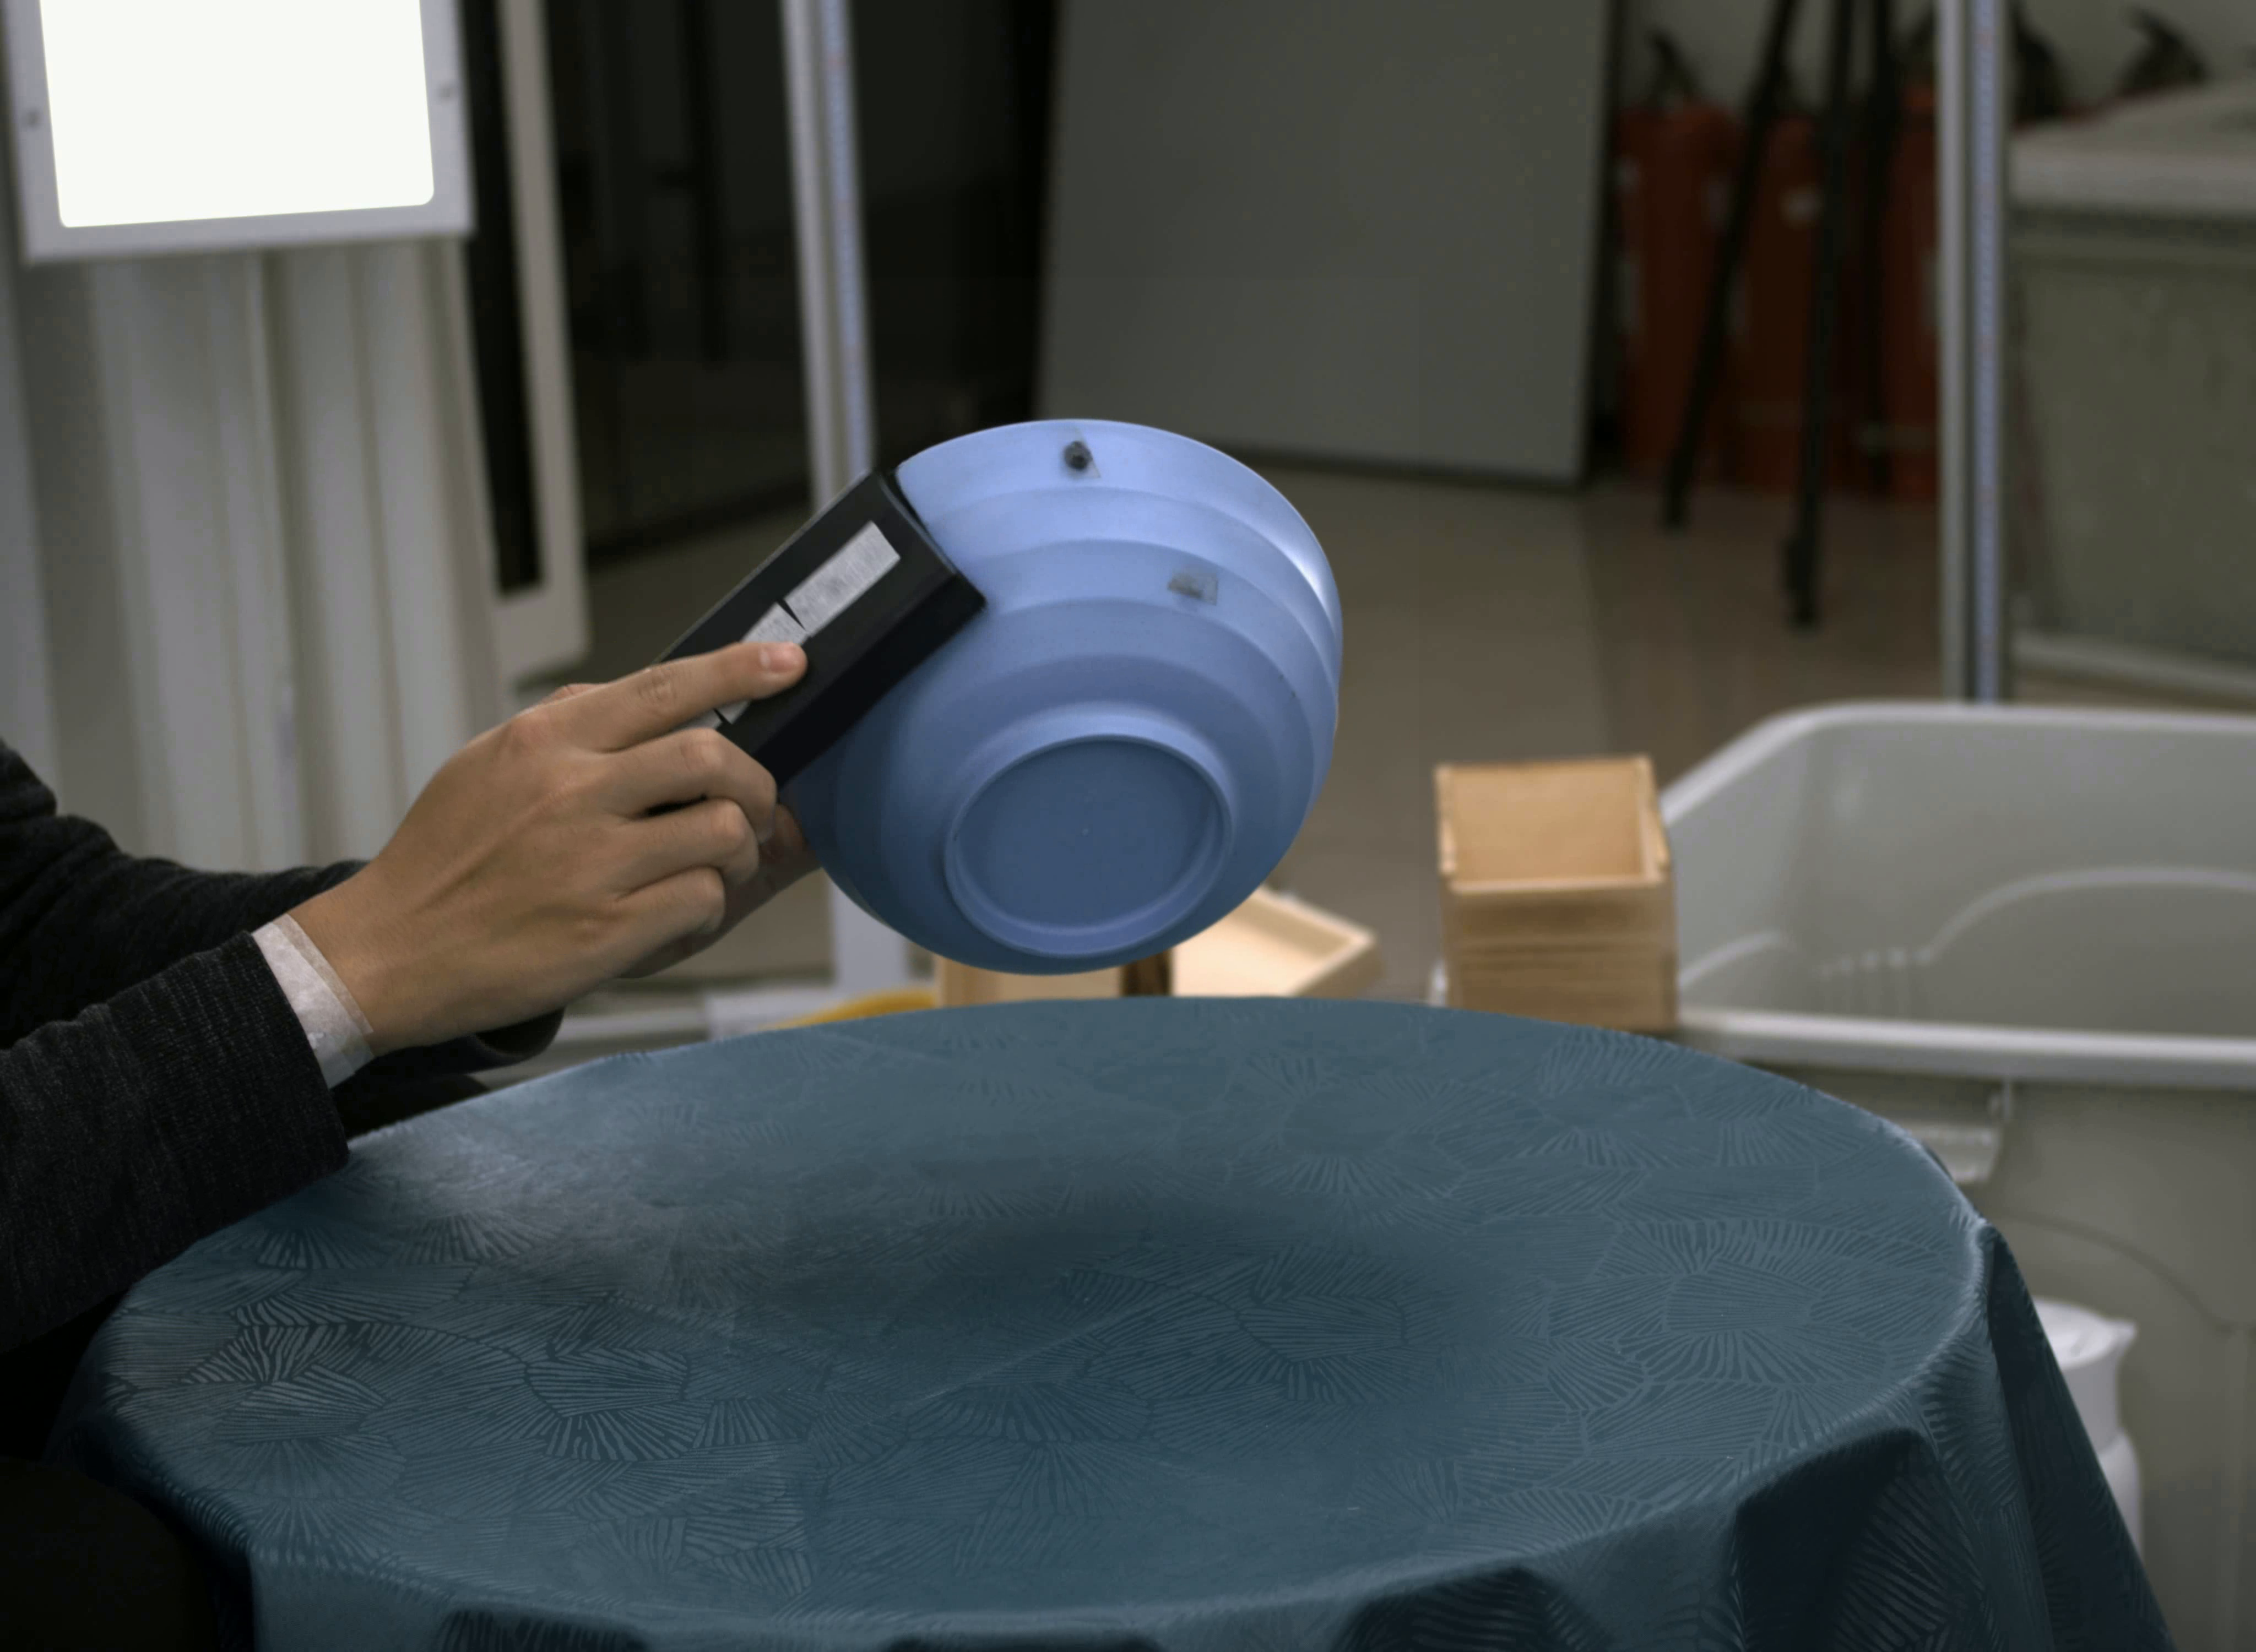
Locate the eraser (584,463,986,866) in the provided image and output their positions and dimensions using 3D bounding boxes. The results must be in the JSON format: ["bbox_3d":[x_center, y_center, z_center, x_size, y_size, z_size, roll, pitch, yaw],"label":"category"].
[{"bbox_3d":[-0.103,-0.049,1.633,0.054,0.125,0.030,47,2,34],"label":"eraser"}]

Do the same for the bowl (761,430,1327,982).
[{"bbox_3d":[-0.022,-0.019,1.701,0.193,0.197,0.096,-6,45,-10],"label":"bowl"}]
